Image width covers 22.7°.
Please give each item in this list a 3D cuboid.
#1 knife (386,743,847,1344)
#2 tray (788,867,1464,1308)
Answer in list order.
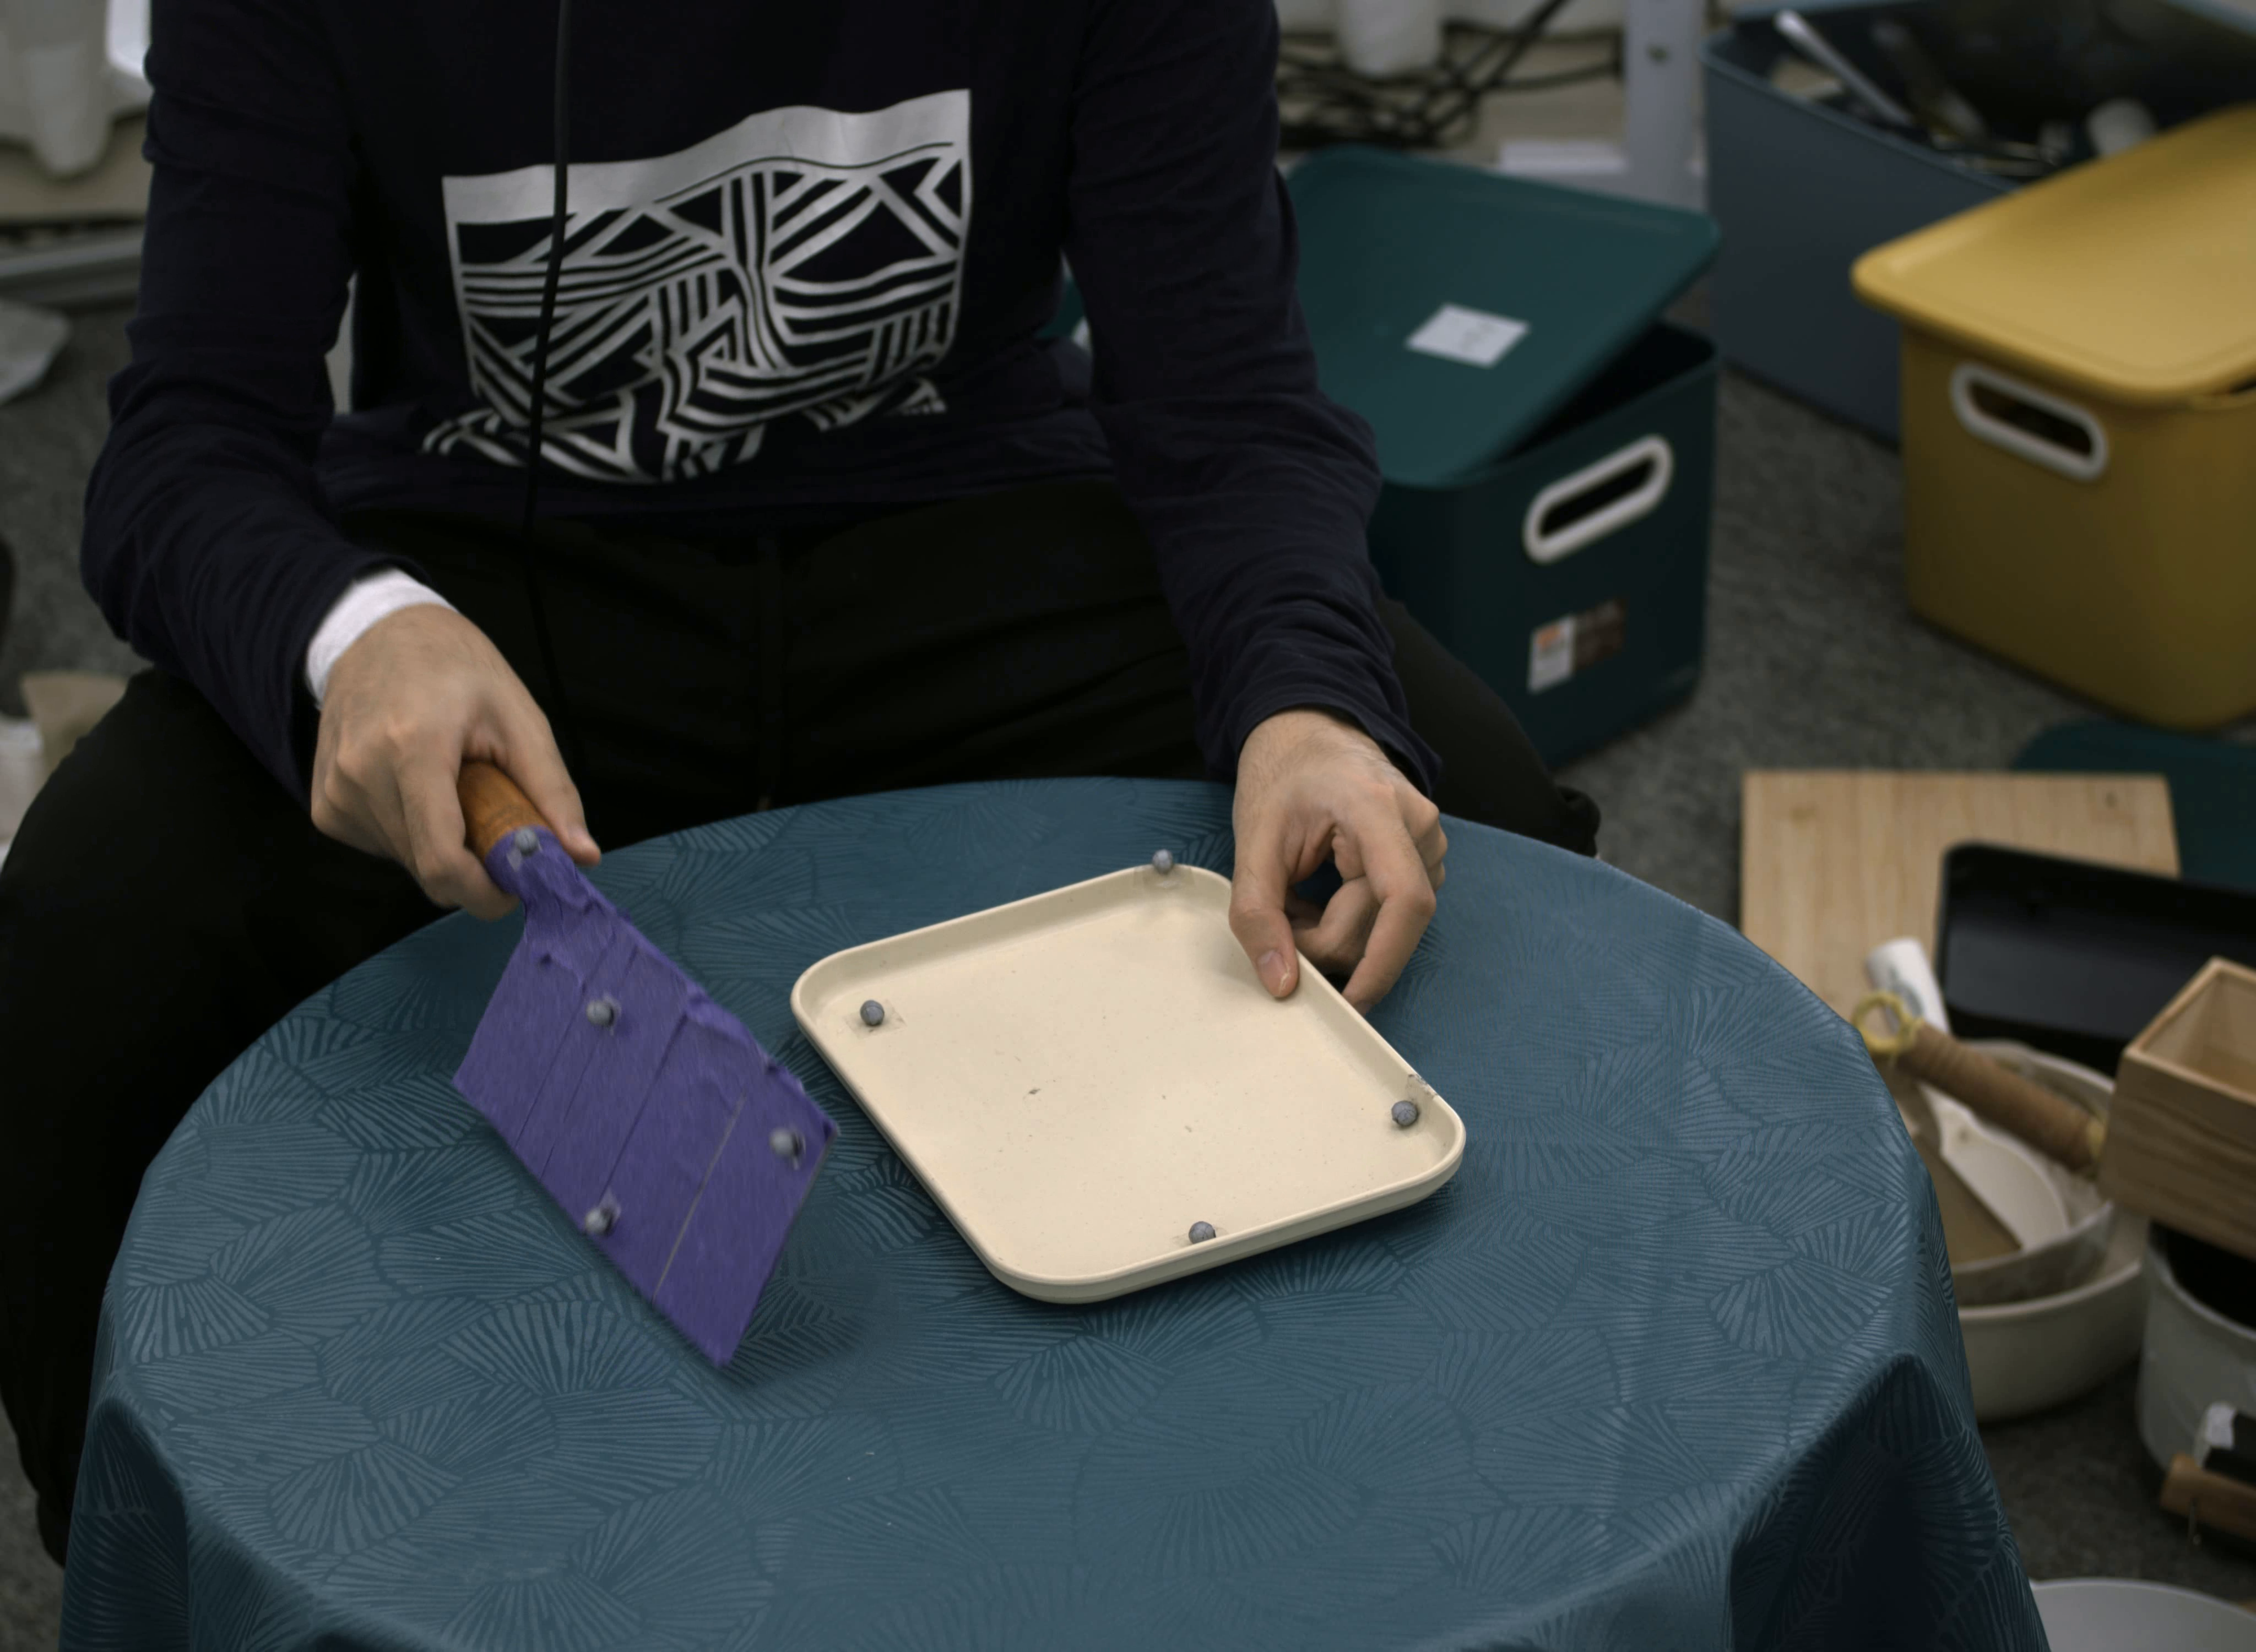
[{"bbox_3d":[-0.187,0.070,1.865,0.032,0.103,0.317,23,9,-37],"label":"knife"},{"bbox_3d":[-0.003,0.087,1.904,0.172,0.017,0.241,-16,30,-18],"label":"tray"}]
